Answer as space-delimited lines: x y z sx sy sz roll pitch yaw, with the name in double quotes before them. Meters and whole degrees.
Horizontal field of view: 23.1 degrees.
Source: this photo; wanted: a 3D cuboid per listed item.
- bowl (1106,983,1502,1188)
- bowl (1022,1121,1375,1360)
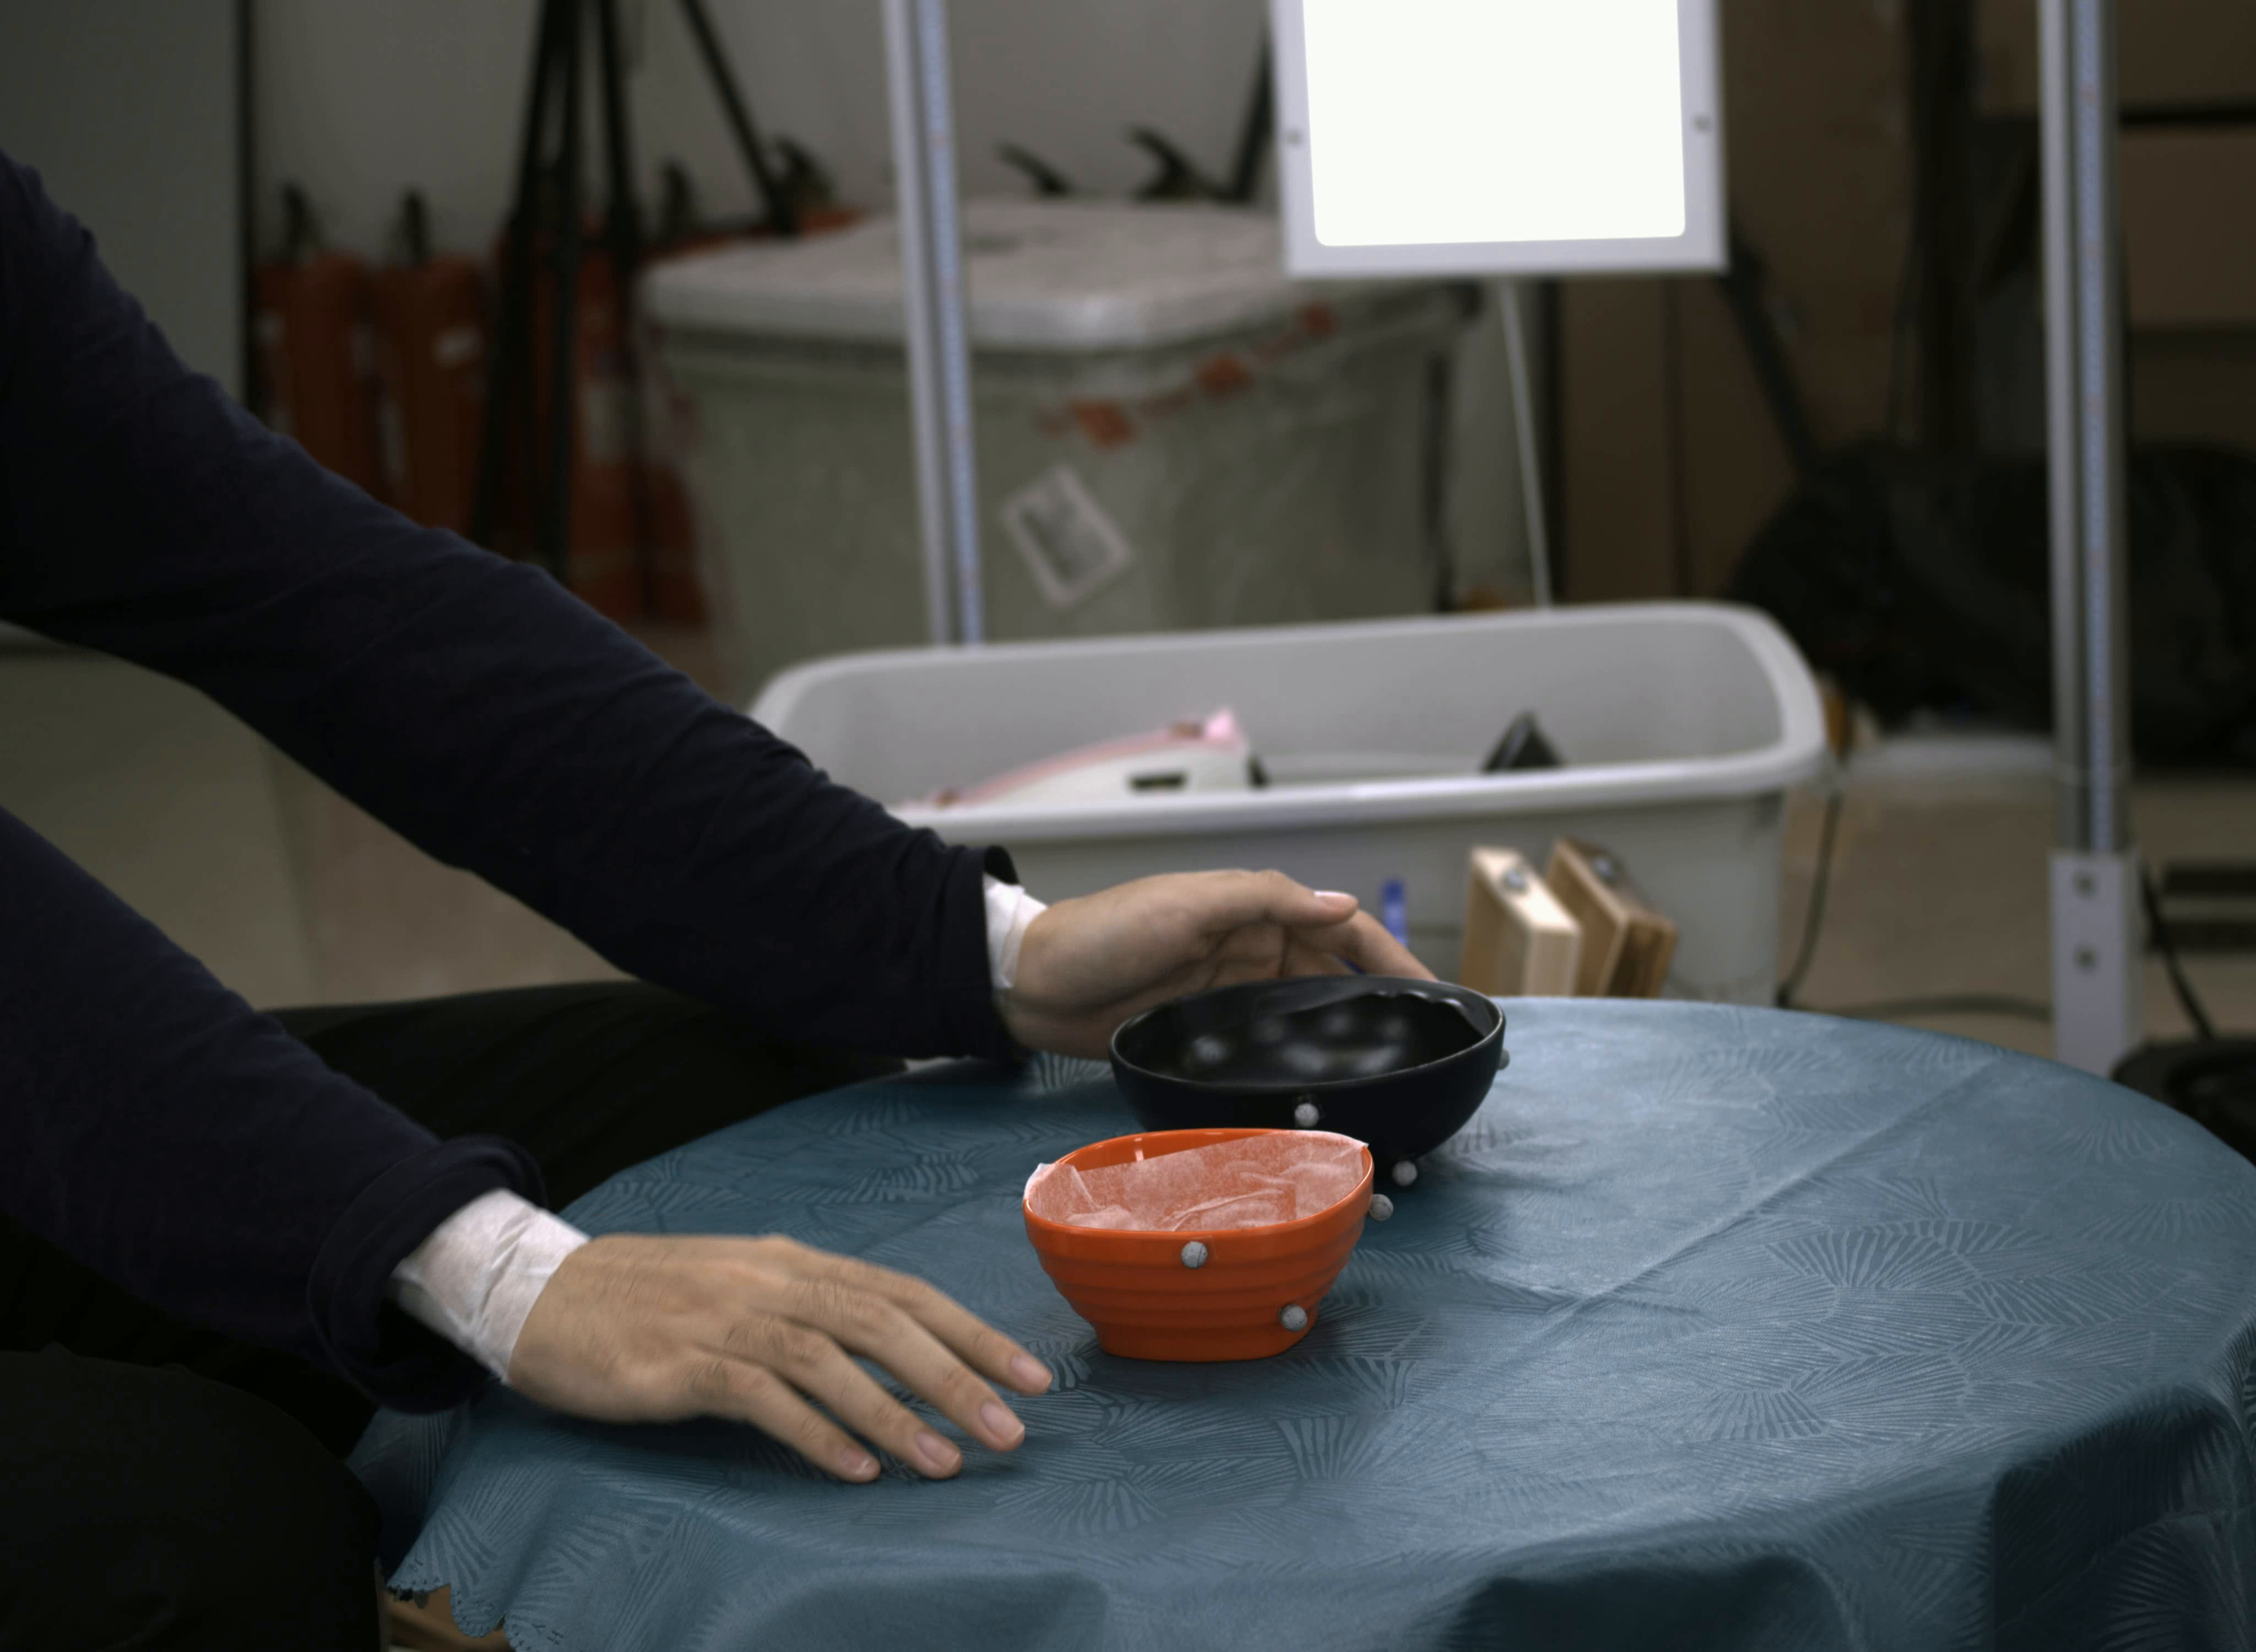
"bowl" 0.064 0.096 1.913 0.140 0.050 0.140 -9 12 0
"bowl" 0.024 0.134 1.751 0.118 0.051 0.119 -4 15 0
